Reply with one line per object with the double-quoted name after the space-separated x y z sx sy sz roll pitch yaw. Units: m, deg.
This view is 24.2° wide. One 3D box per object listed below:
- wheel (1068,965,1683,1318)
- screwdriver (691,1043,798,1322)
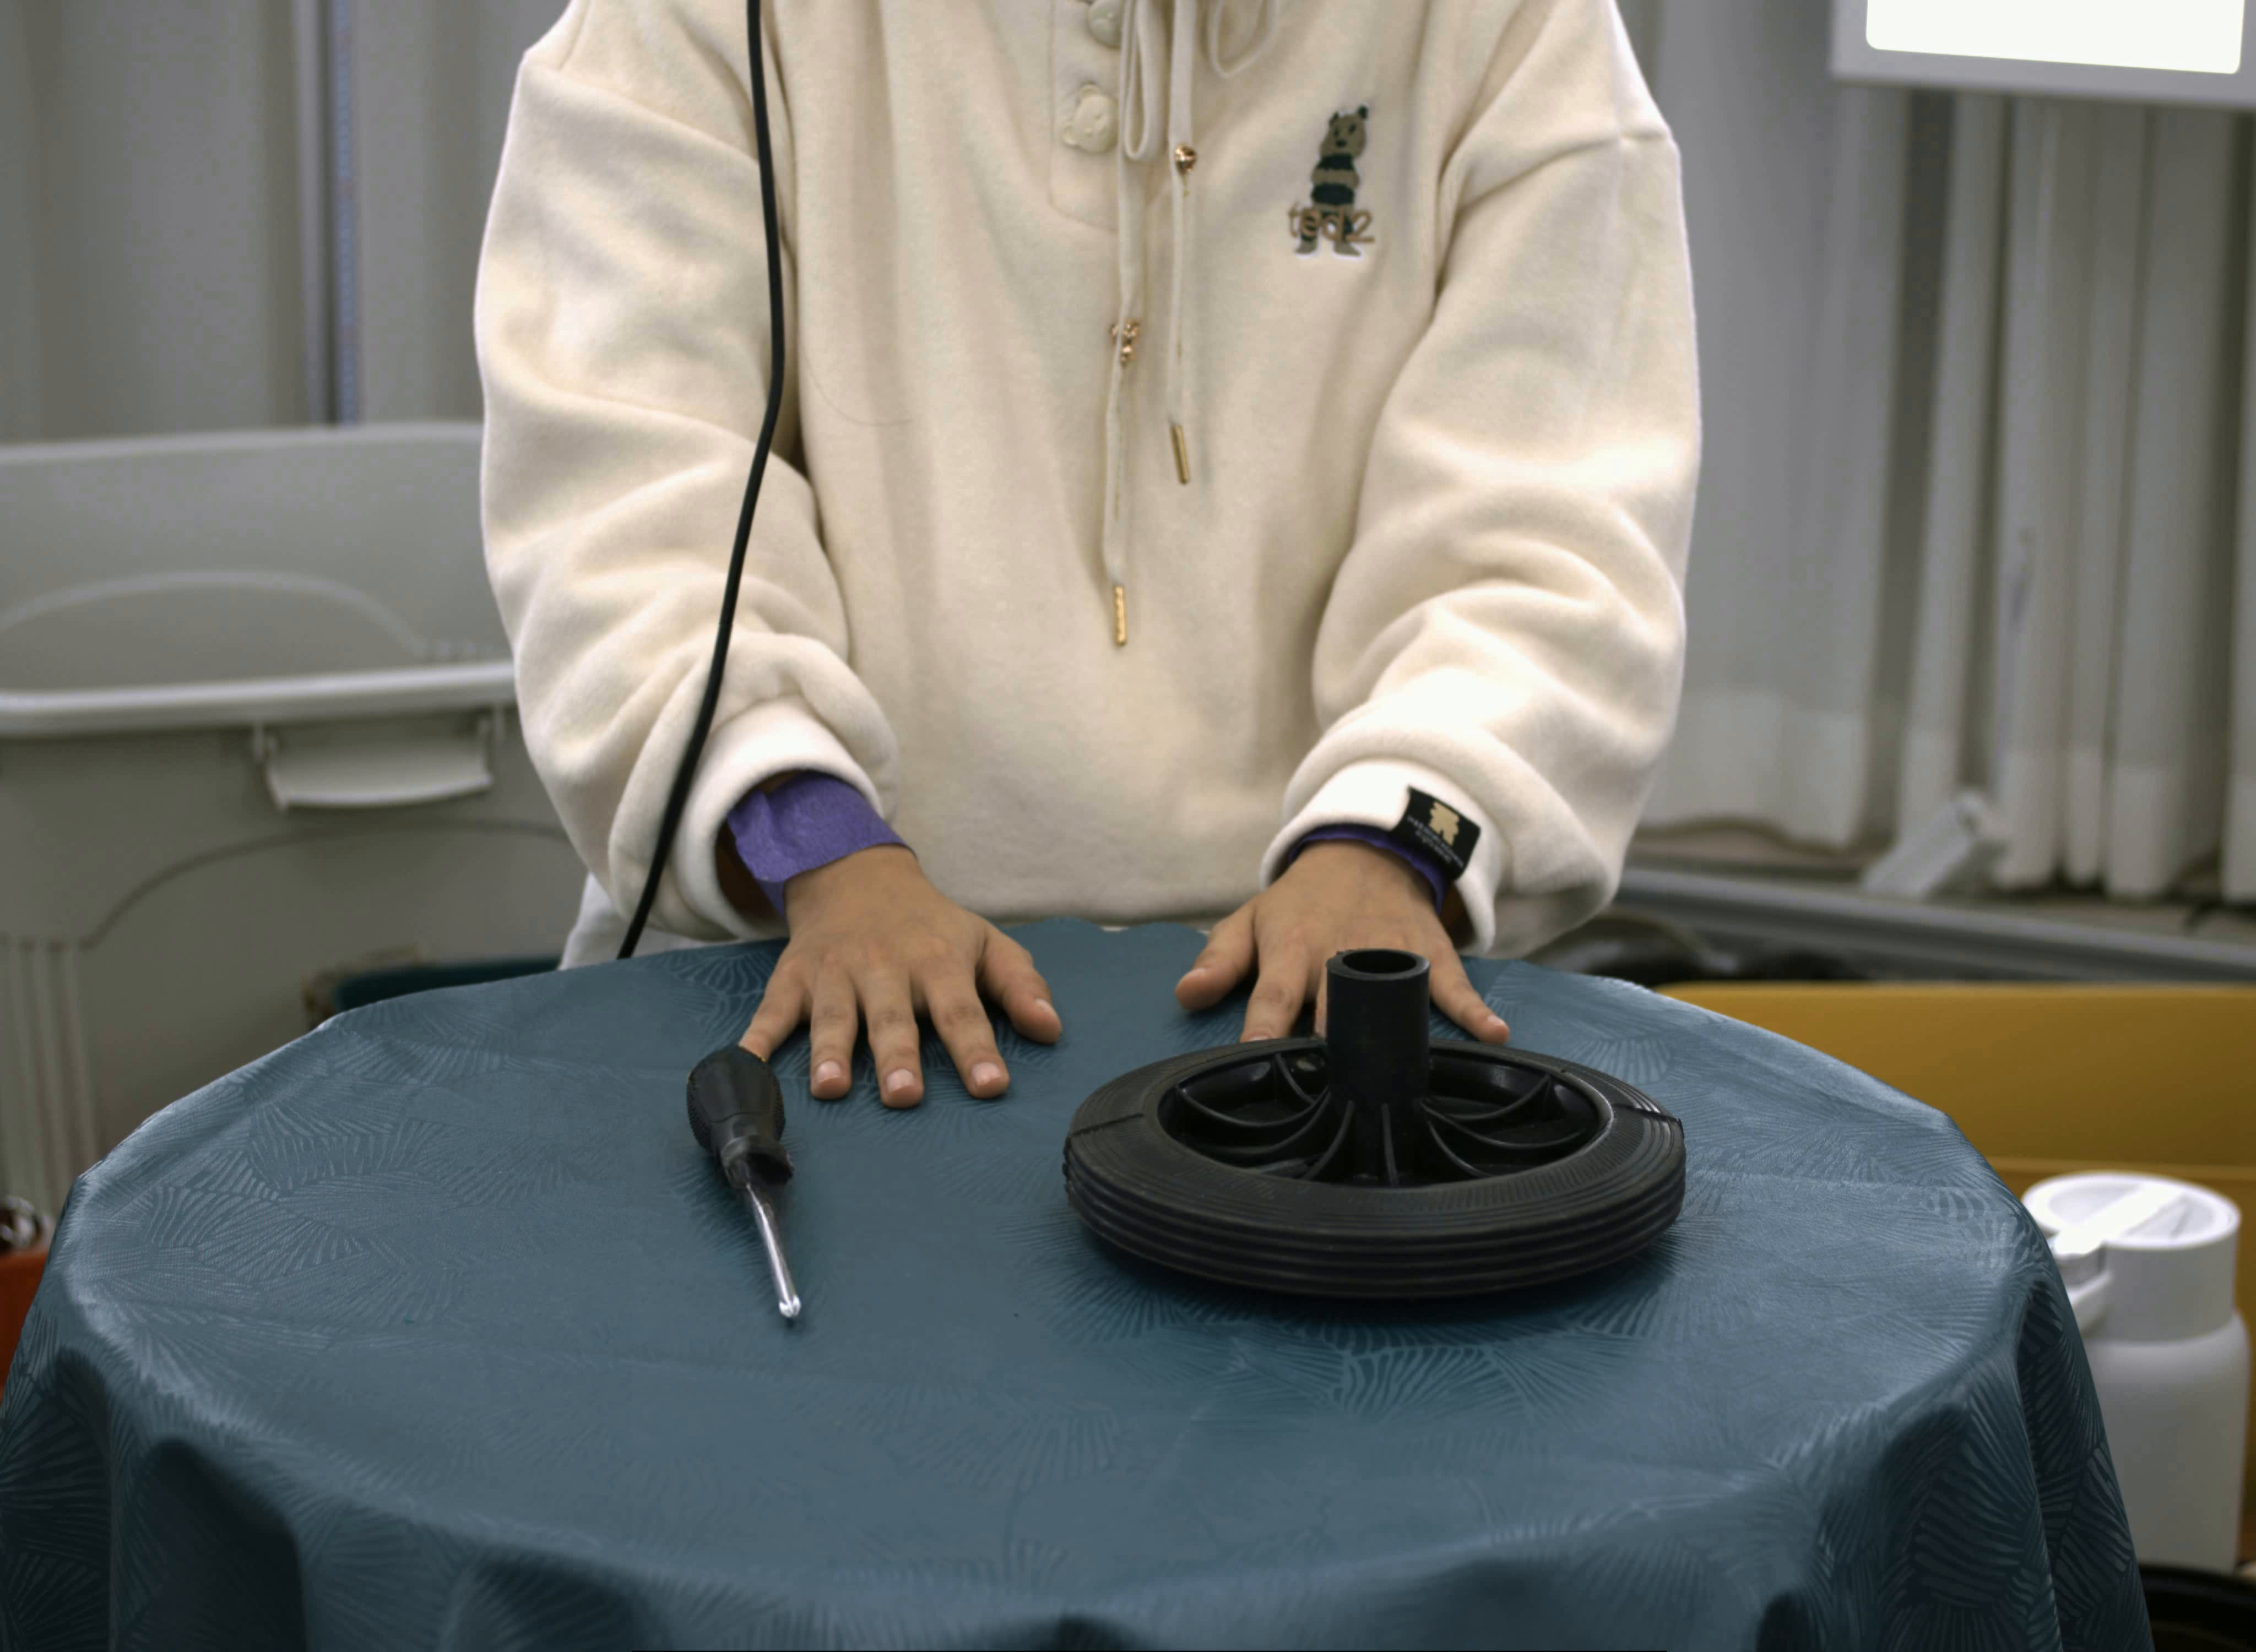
0.074 0.084 1.584 0.185 0.080 0.190 10 20 29 "wheel"
-0.108 0.107 1.590 0.031 0.032 0.194 -3 18 -12 "screwdriver"
